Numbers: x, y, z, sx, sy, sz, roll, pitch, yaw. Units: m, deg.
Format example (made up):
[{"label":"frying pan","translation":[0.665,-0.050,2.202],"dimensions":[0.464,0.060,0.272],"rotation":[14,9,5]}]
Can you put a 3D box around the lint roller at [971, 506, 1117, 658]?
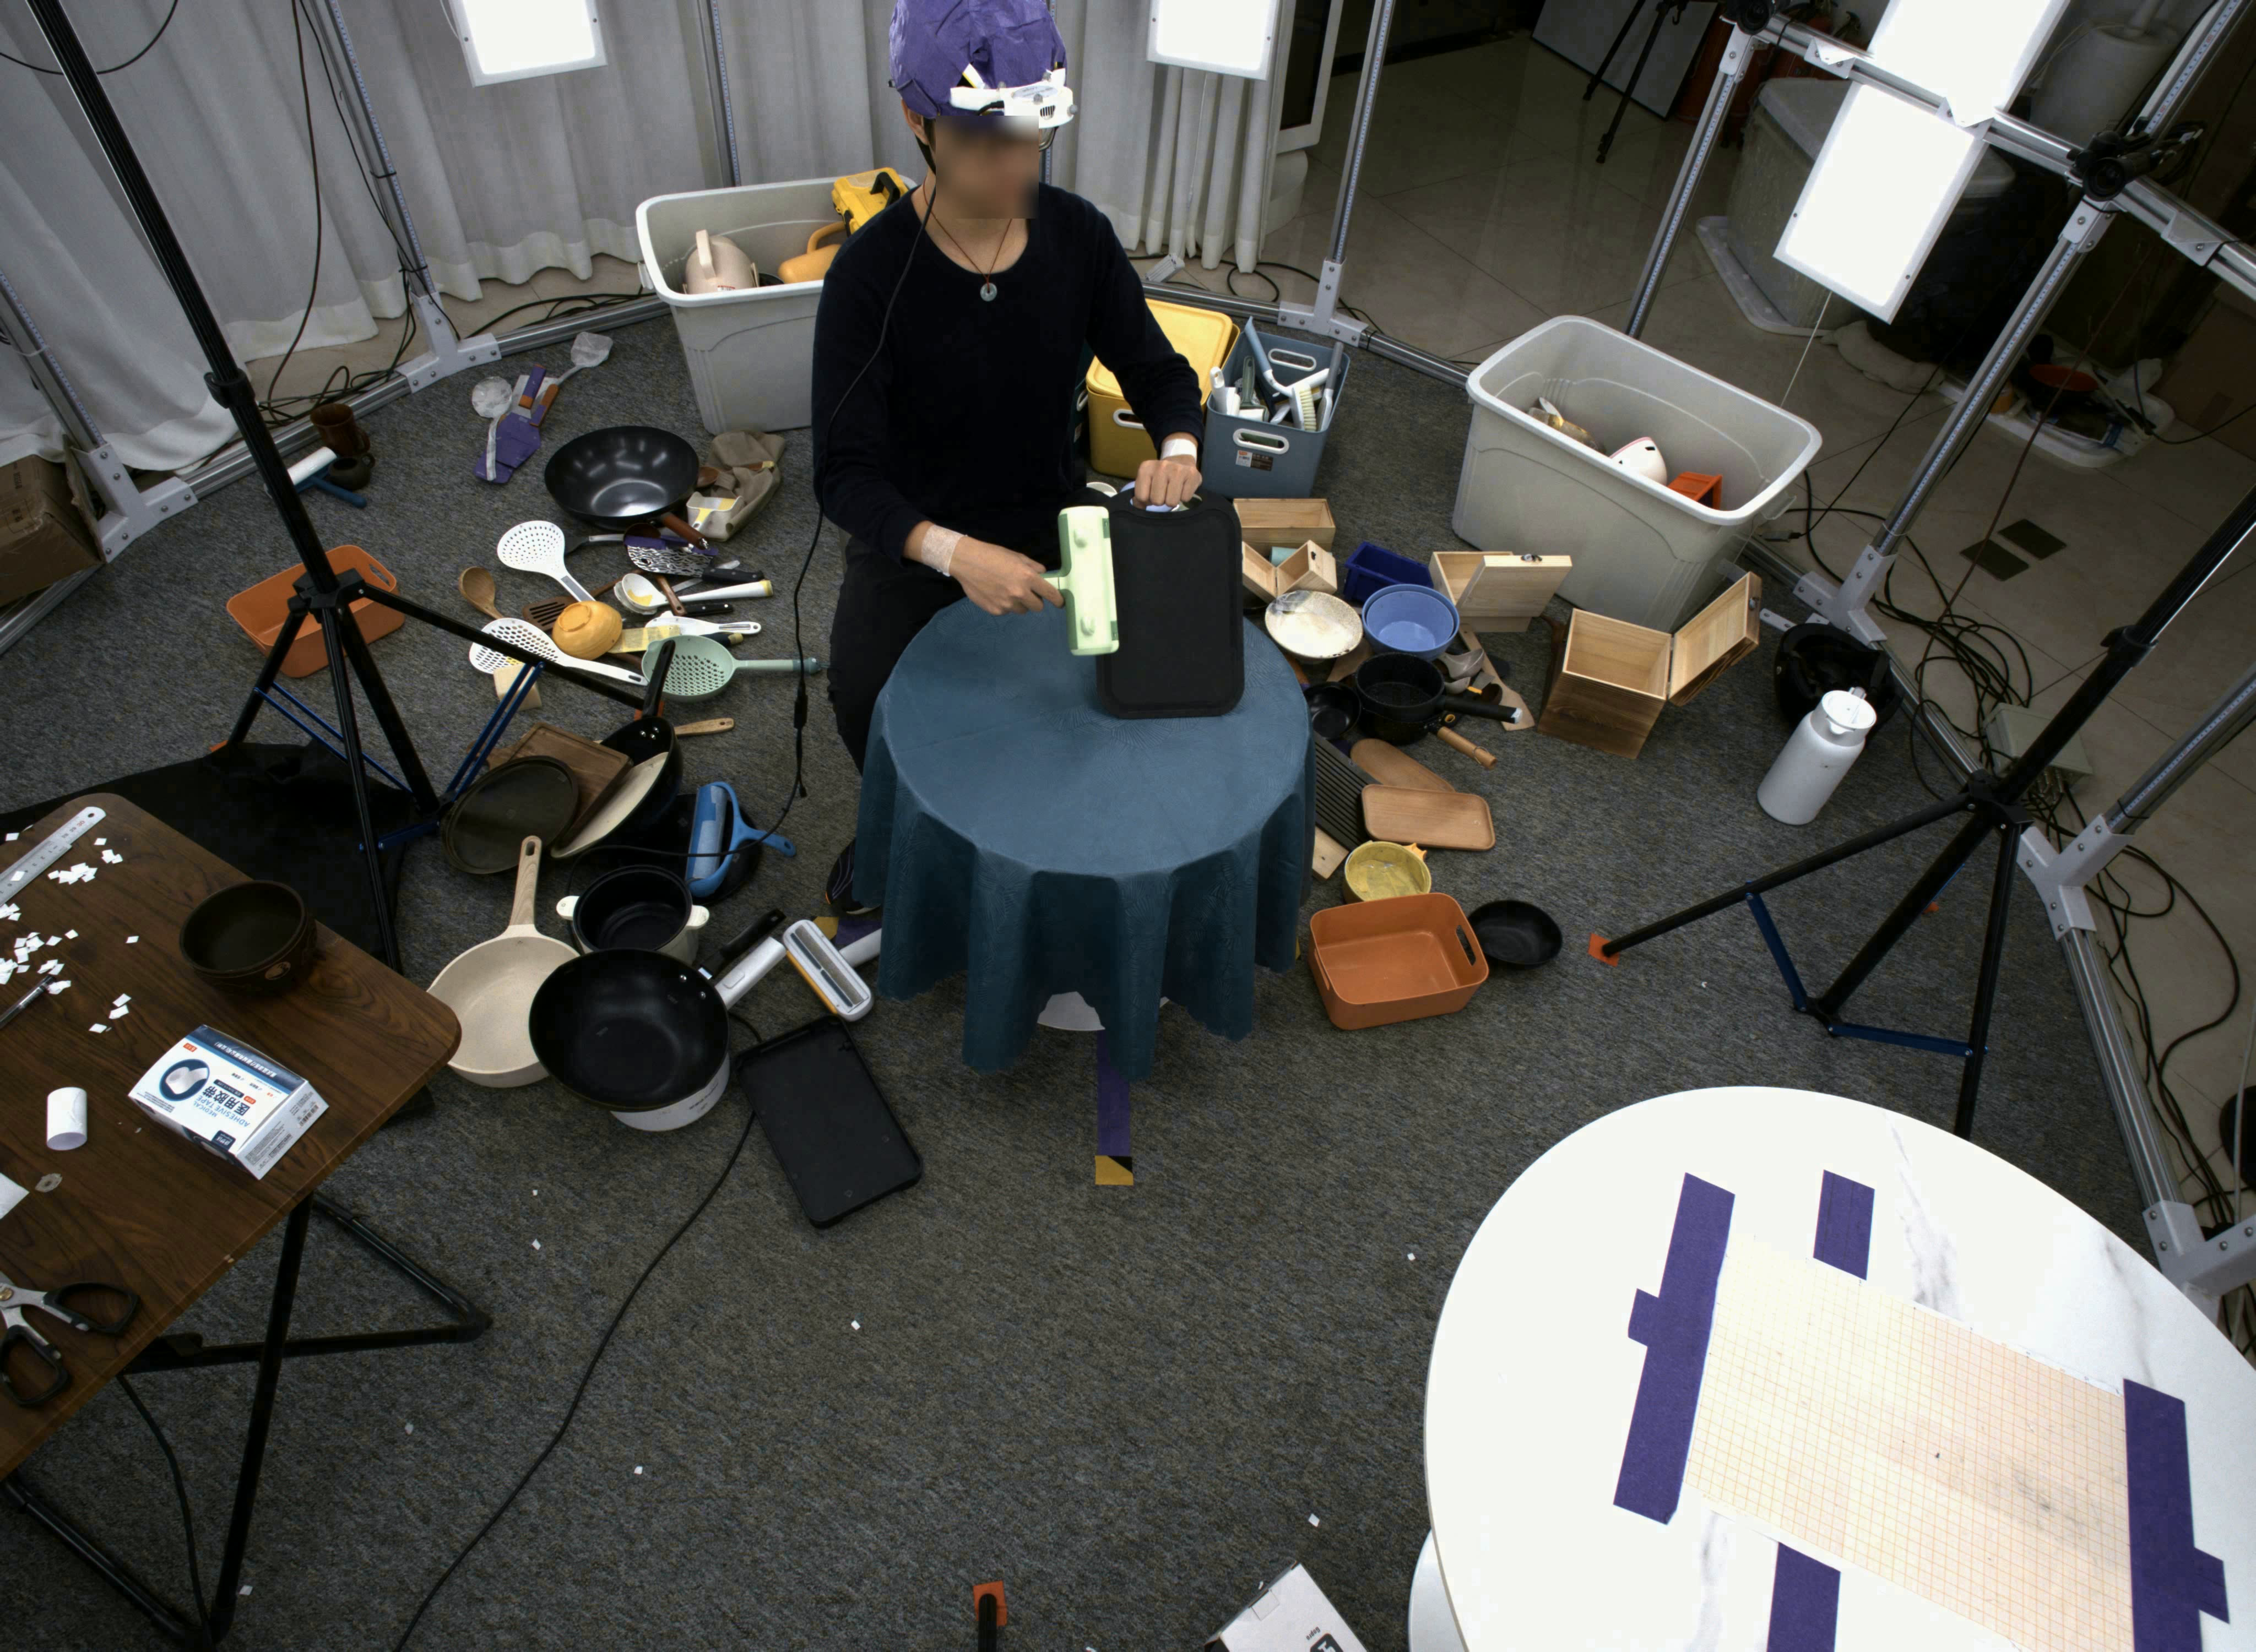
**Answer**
[{"label":"lint roller","translation":[-0.111,-0.317,1.698],"dimensions":[0.183,0.198,0.082],"rotation":[-6,6,-14]}]

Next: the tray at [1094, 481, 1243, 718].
[{"label":"tray","translation":[0.056,-0.314,1.792],"dimensions":[0.211,0.324,0.010],"rotation":[-2,4,-6]}]
